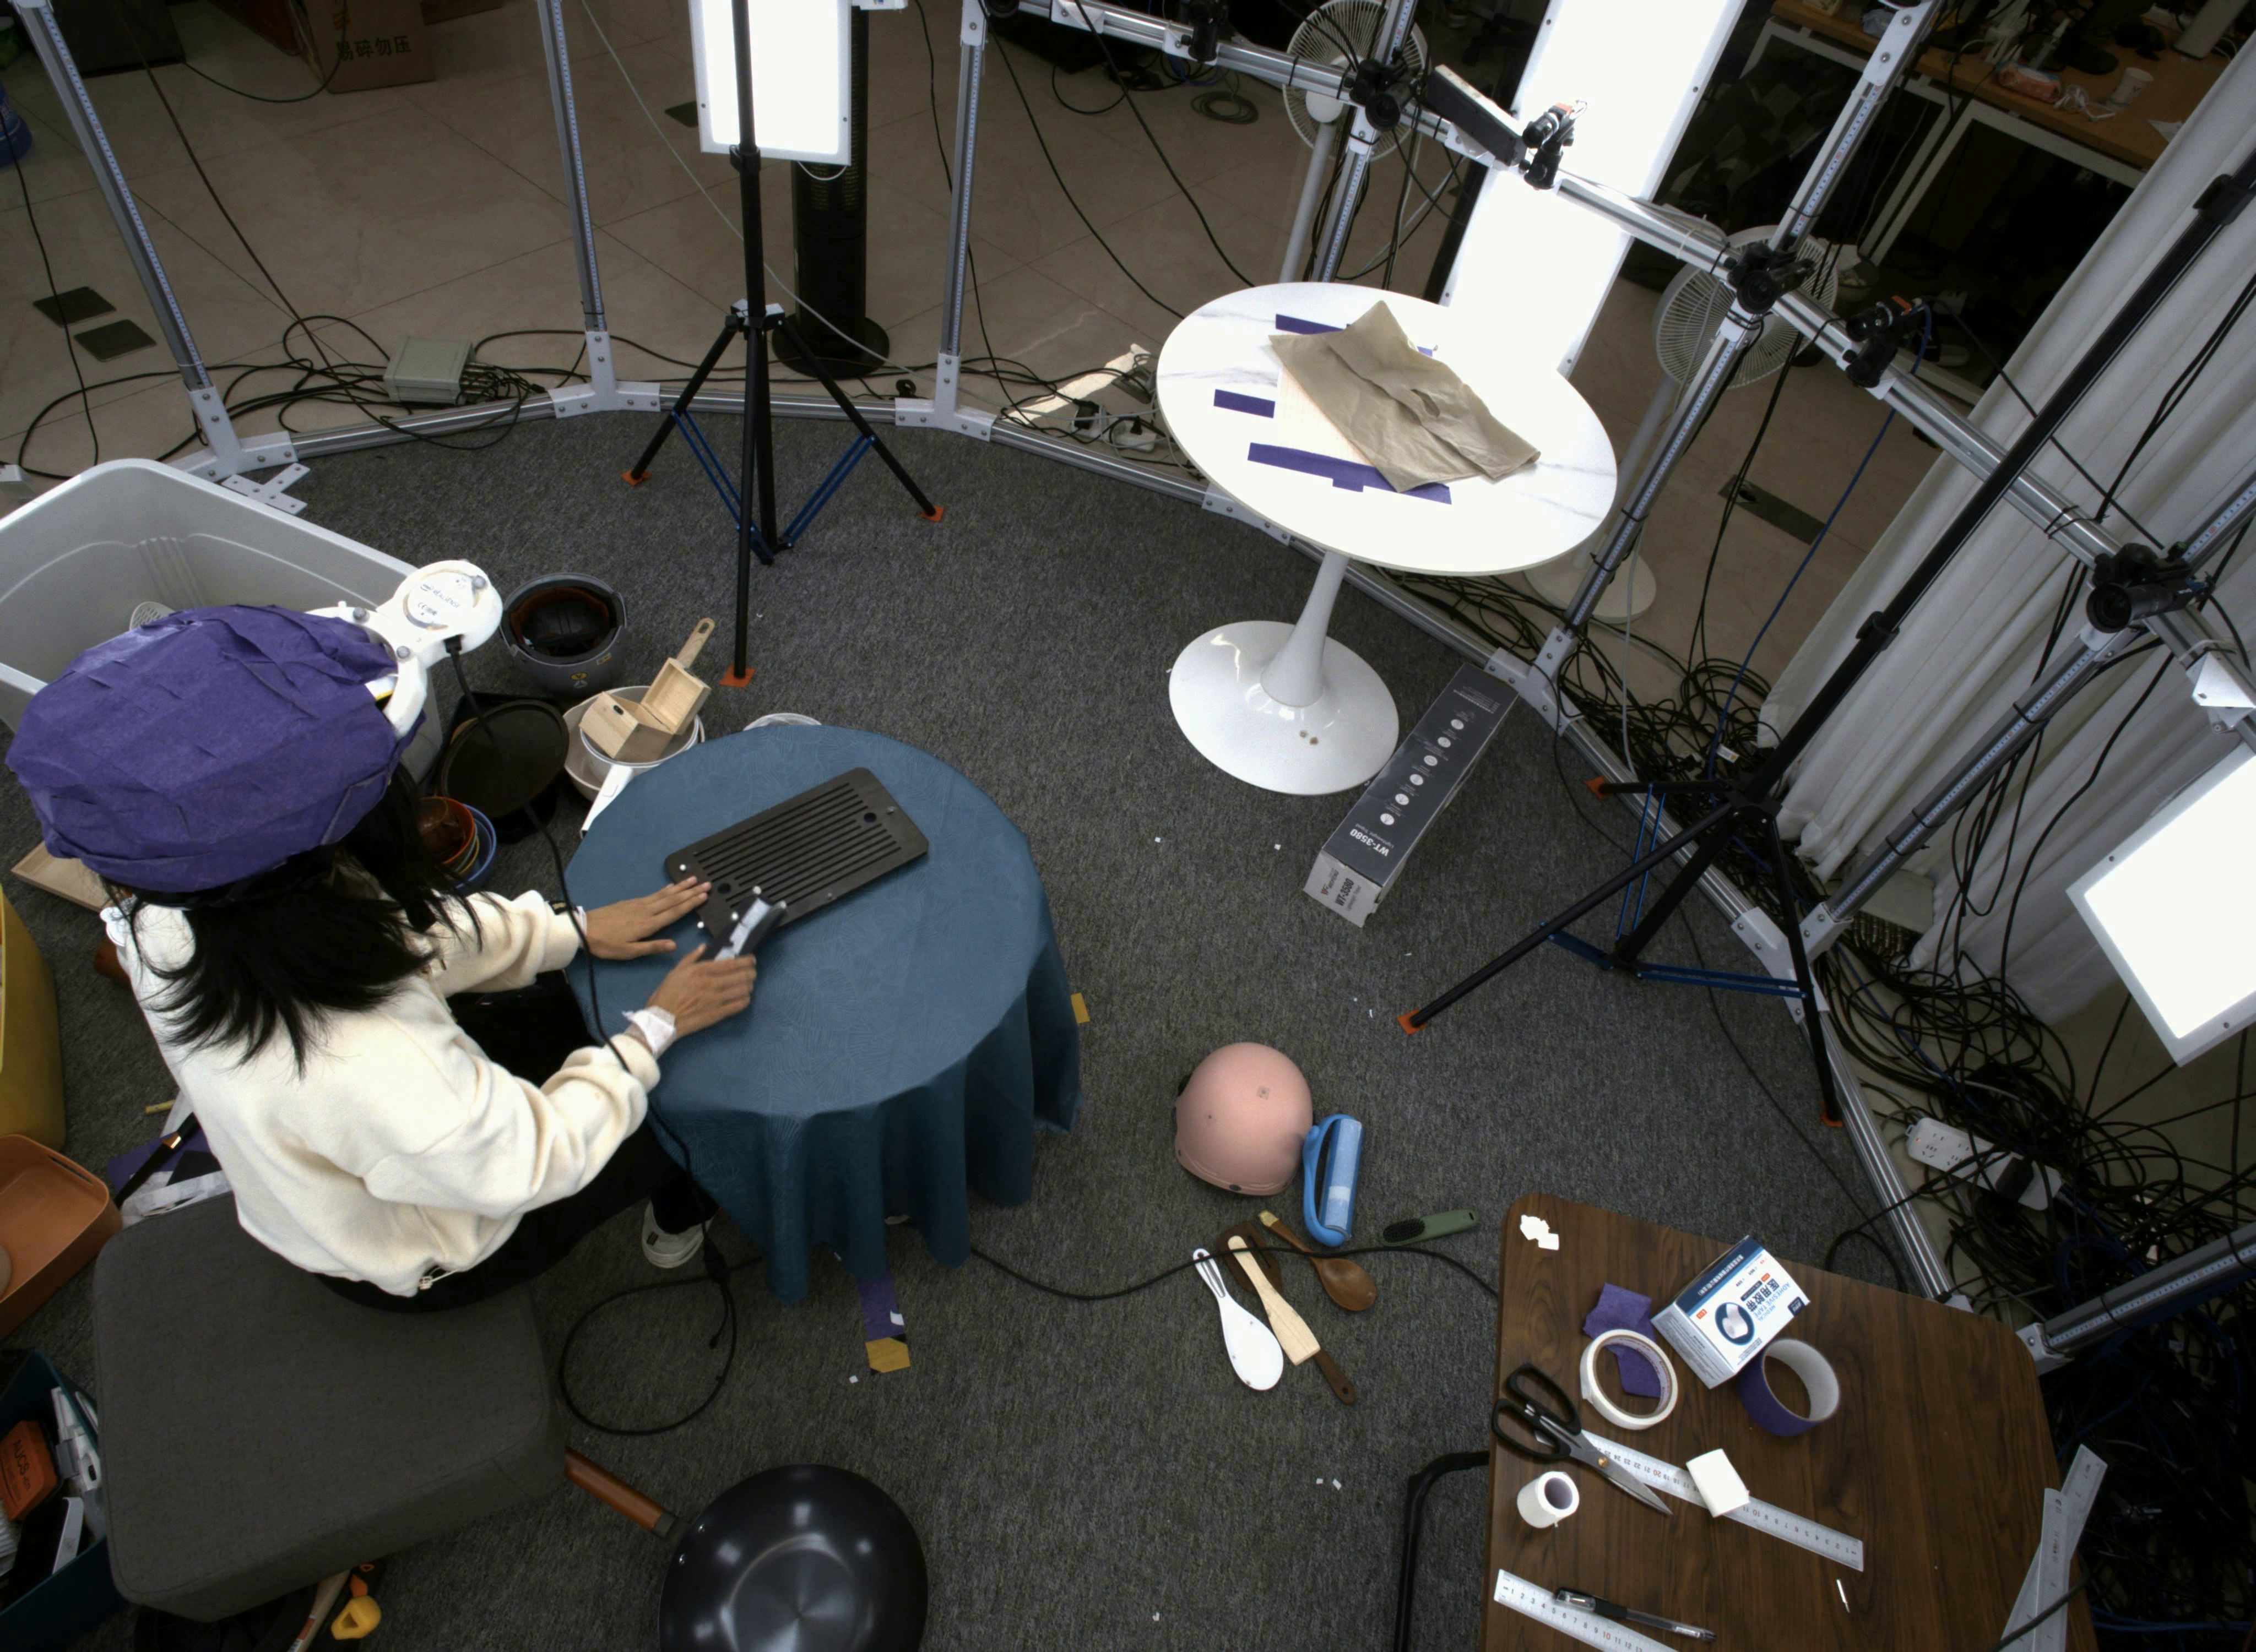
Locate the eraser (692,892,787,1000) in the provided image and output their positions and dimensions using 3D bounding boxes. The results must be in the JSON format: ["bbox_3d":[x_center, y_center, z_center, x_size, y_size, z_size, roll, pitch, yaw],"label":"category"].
[{"bbox_3d":[-0.465,0.140,1.554,0.053,0.031,0.125,29,64,2],"label":"eraser"}]

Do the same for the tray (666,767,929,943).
[{"bbox_3d":[-0.424,0.040,1.677,0.307,0.019,0.166,-30,66,-31],"label":"tray"}]
